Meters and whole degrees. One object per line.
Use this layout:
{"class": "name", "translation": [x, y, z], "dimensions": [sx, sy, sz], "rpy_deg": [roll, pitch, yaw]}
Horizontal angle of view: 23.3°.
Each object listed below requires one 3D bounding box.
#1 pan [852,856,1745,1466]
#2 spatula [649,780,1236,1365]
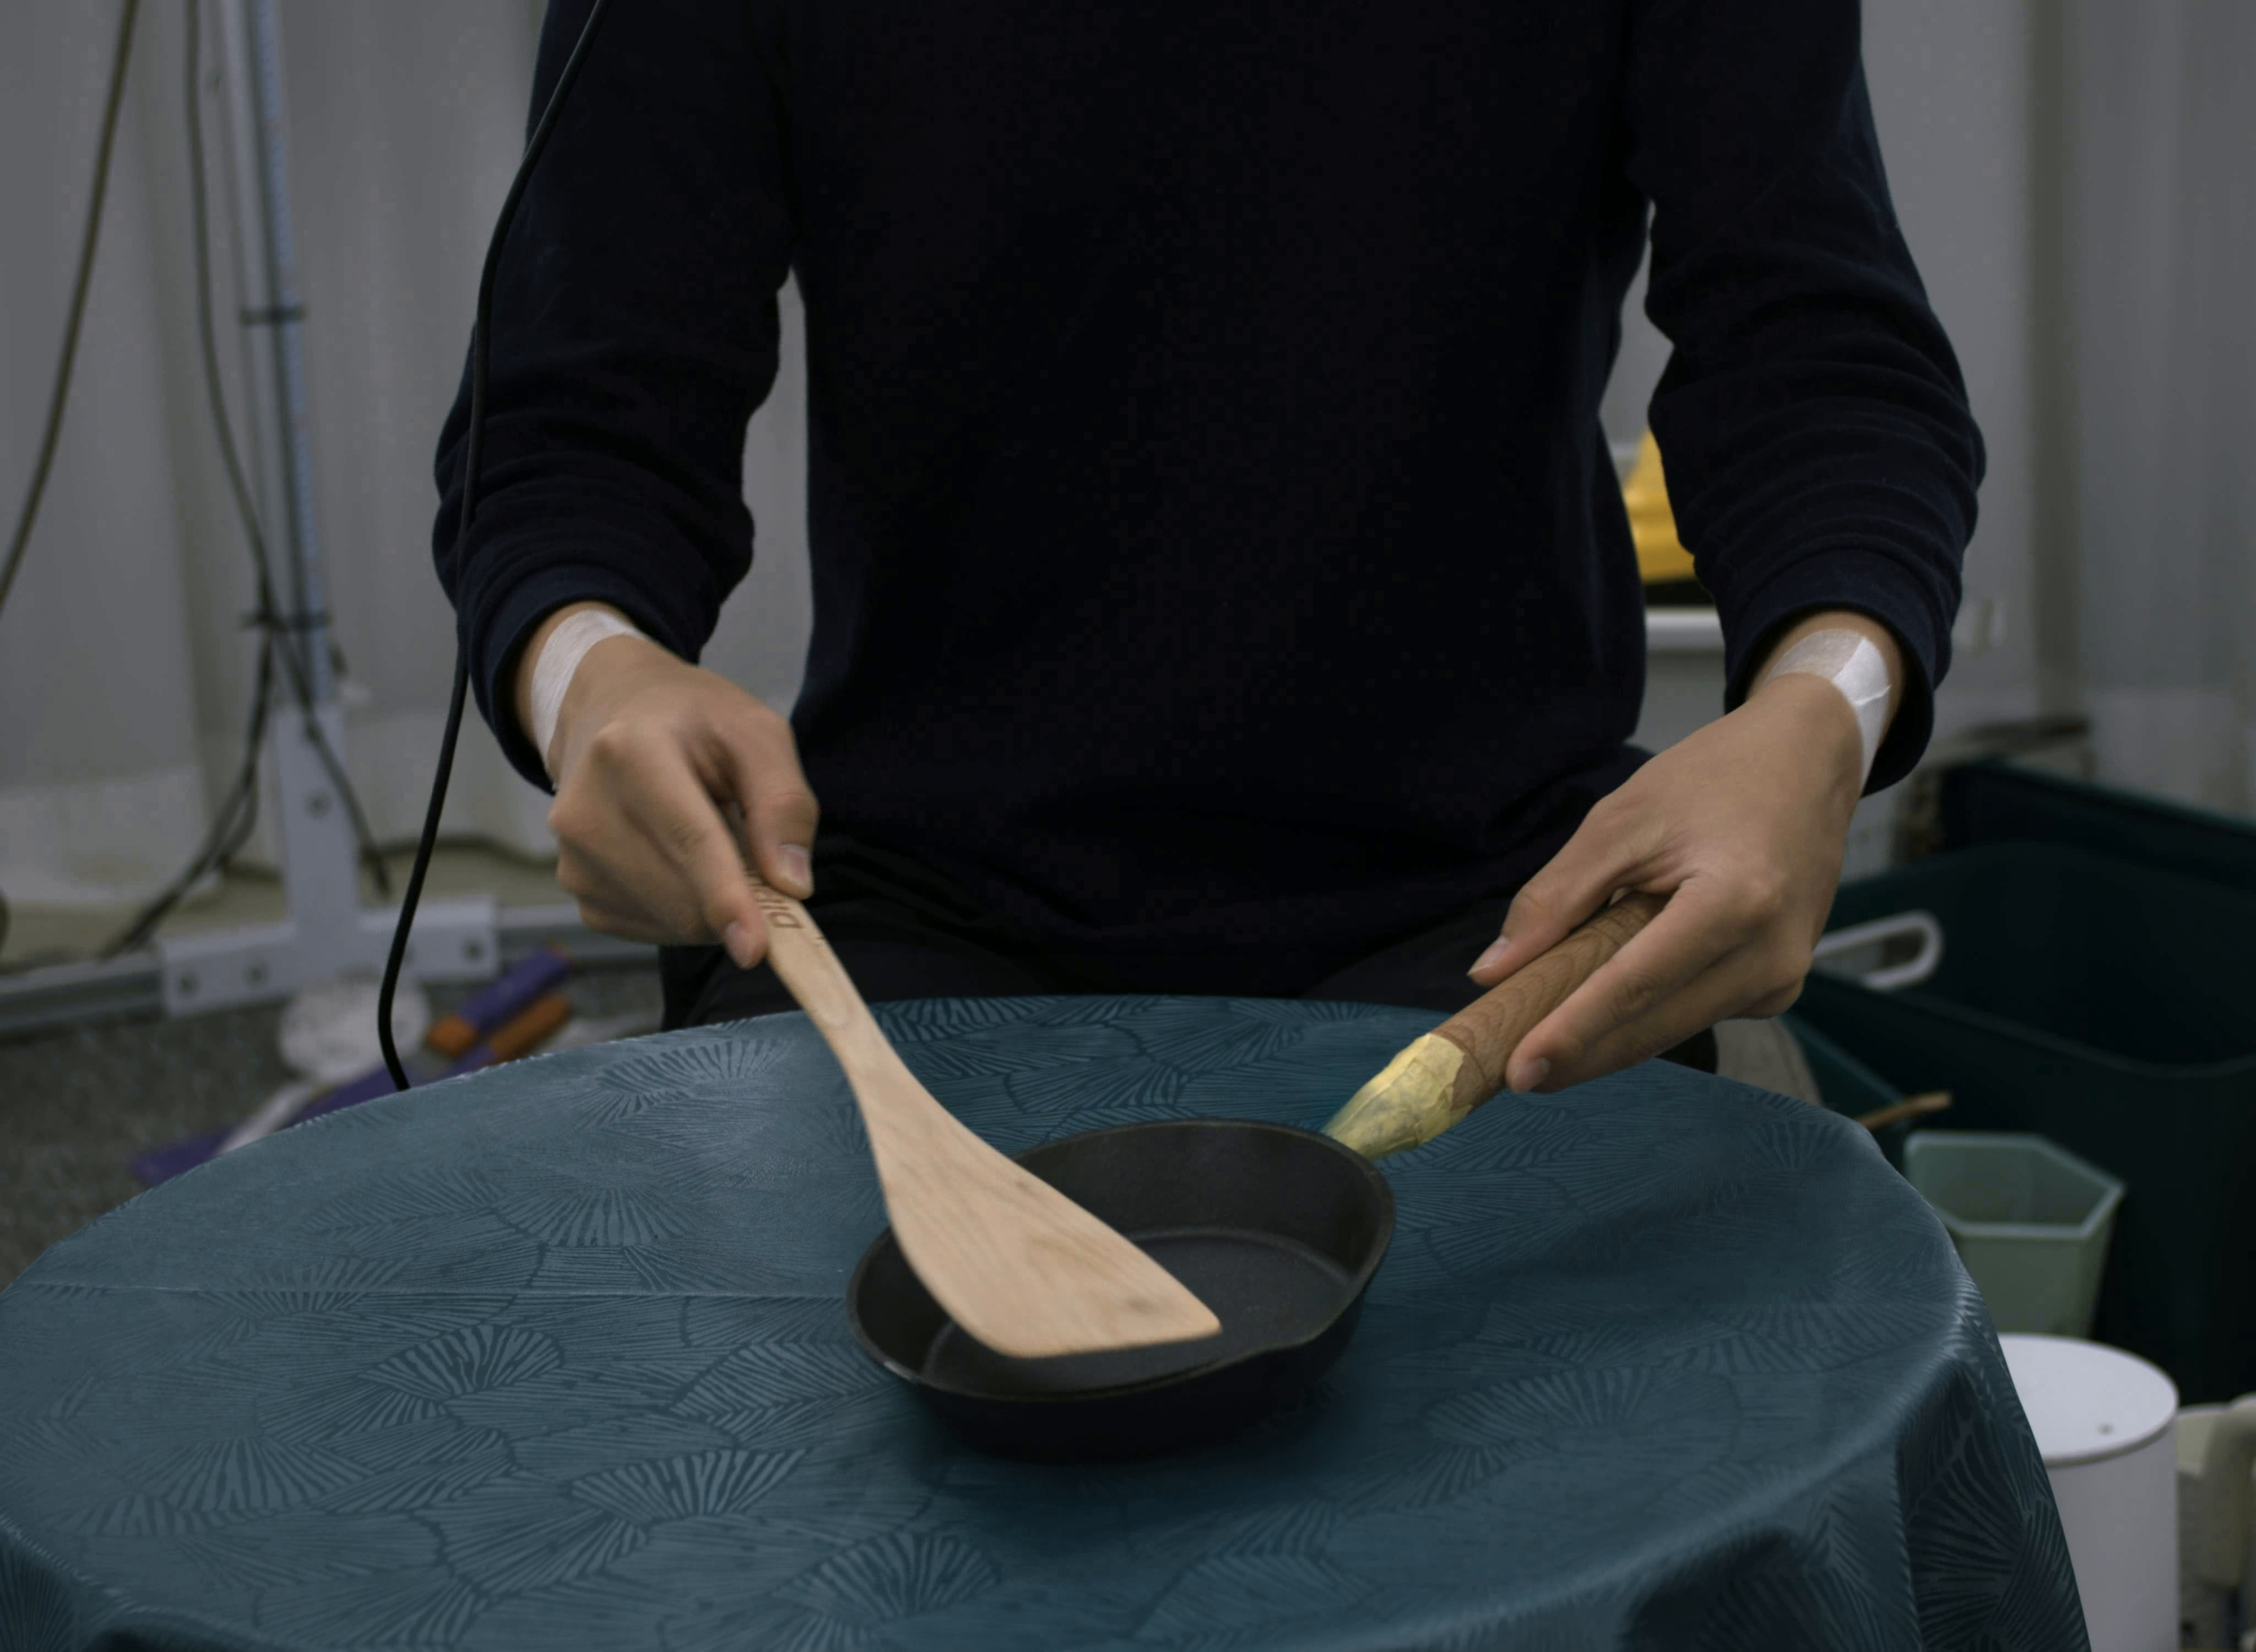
{"class": "pan", "translation": [0.065, 0.093, 1.577], "dimensions": [0.324, 0.049, 0.170], "rpy_deg": [-28, 29, -29]}
{"class": "spatula", "translation": [-0.068, 0.067, 1.571], "dimensions": [0.079, 0.016, 0.332], "rpy_deg": [6, 27, -32]}
